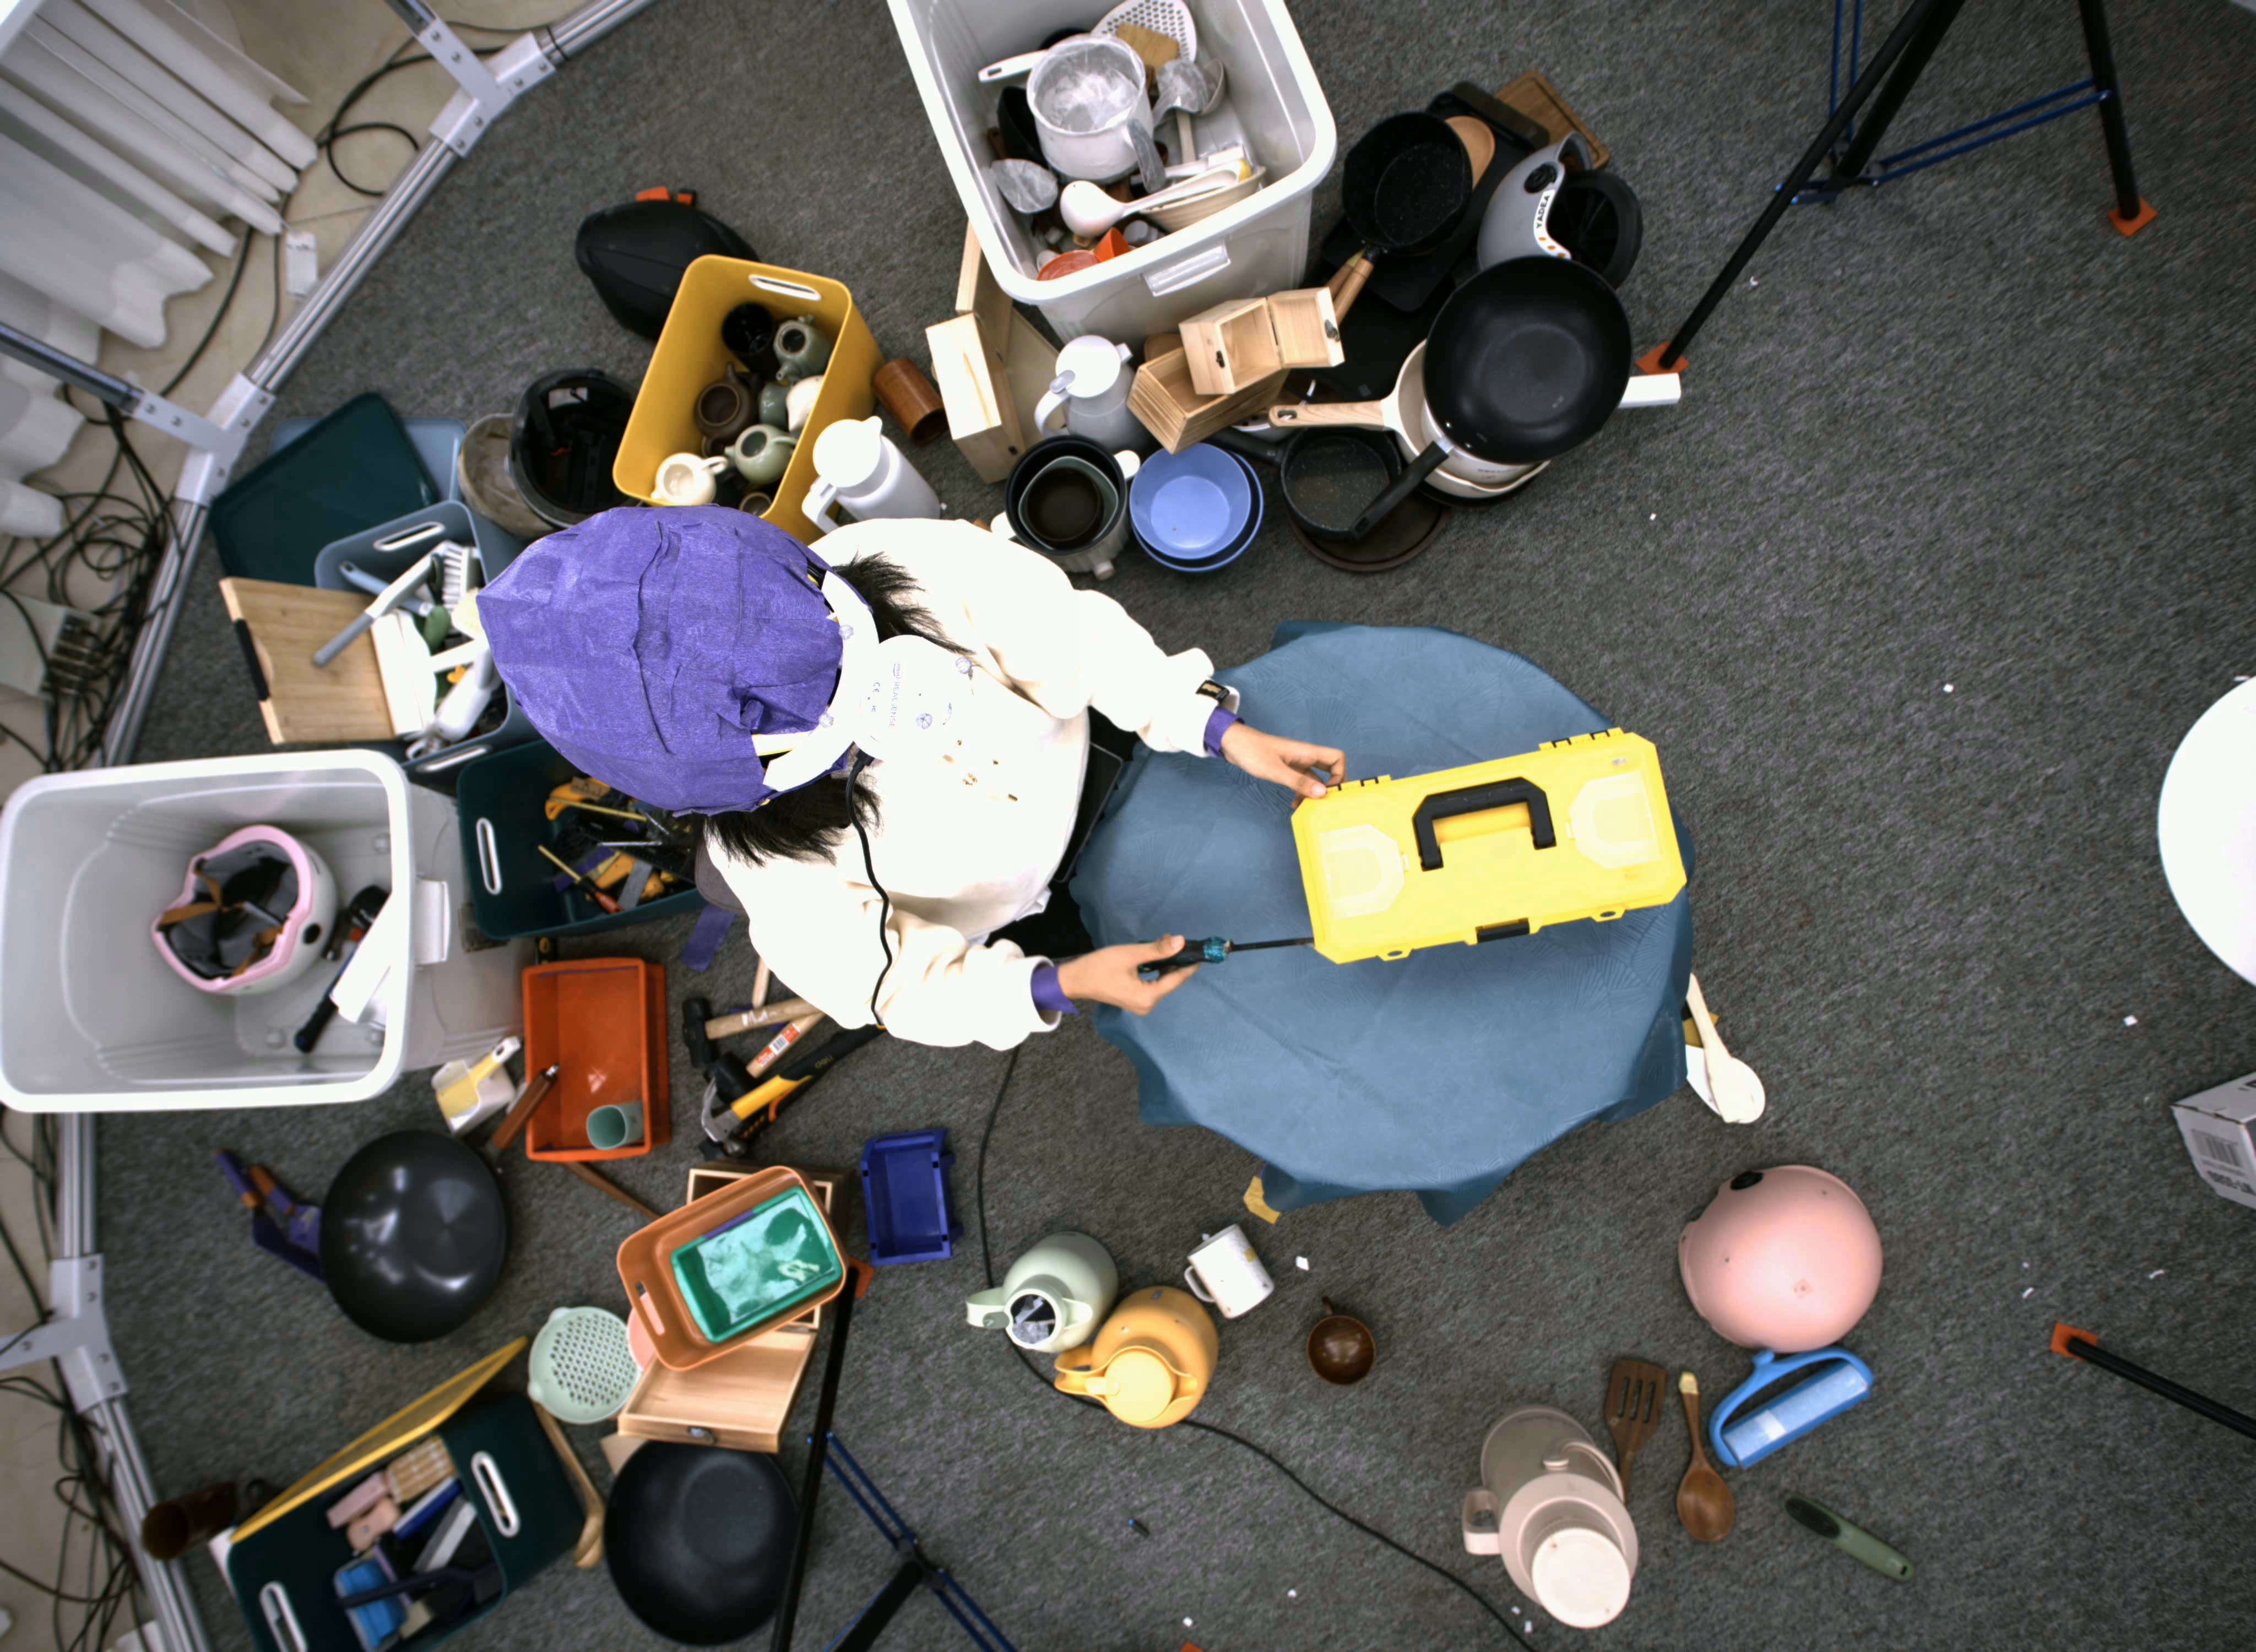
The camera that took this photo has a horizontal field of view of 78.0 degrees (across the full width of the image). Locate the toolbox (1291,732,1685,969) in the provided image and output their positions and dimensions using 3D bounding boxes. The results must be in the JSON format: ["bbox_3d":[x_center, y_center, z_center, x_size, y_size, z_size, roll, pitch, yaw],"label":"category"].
[{"bbox_3d":[0.348,0.026,1.360,0.353,0.173,0.180,-11,83,9],"label":"toolbox"}]

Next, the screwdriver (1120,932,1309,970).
[{"bbox_3d":[0.084,0.116,1.344,0.191,0.033,0.033,-8,83,24],"label":"screwdriver"}]
